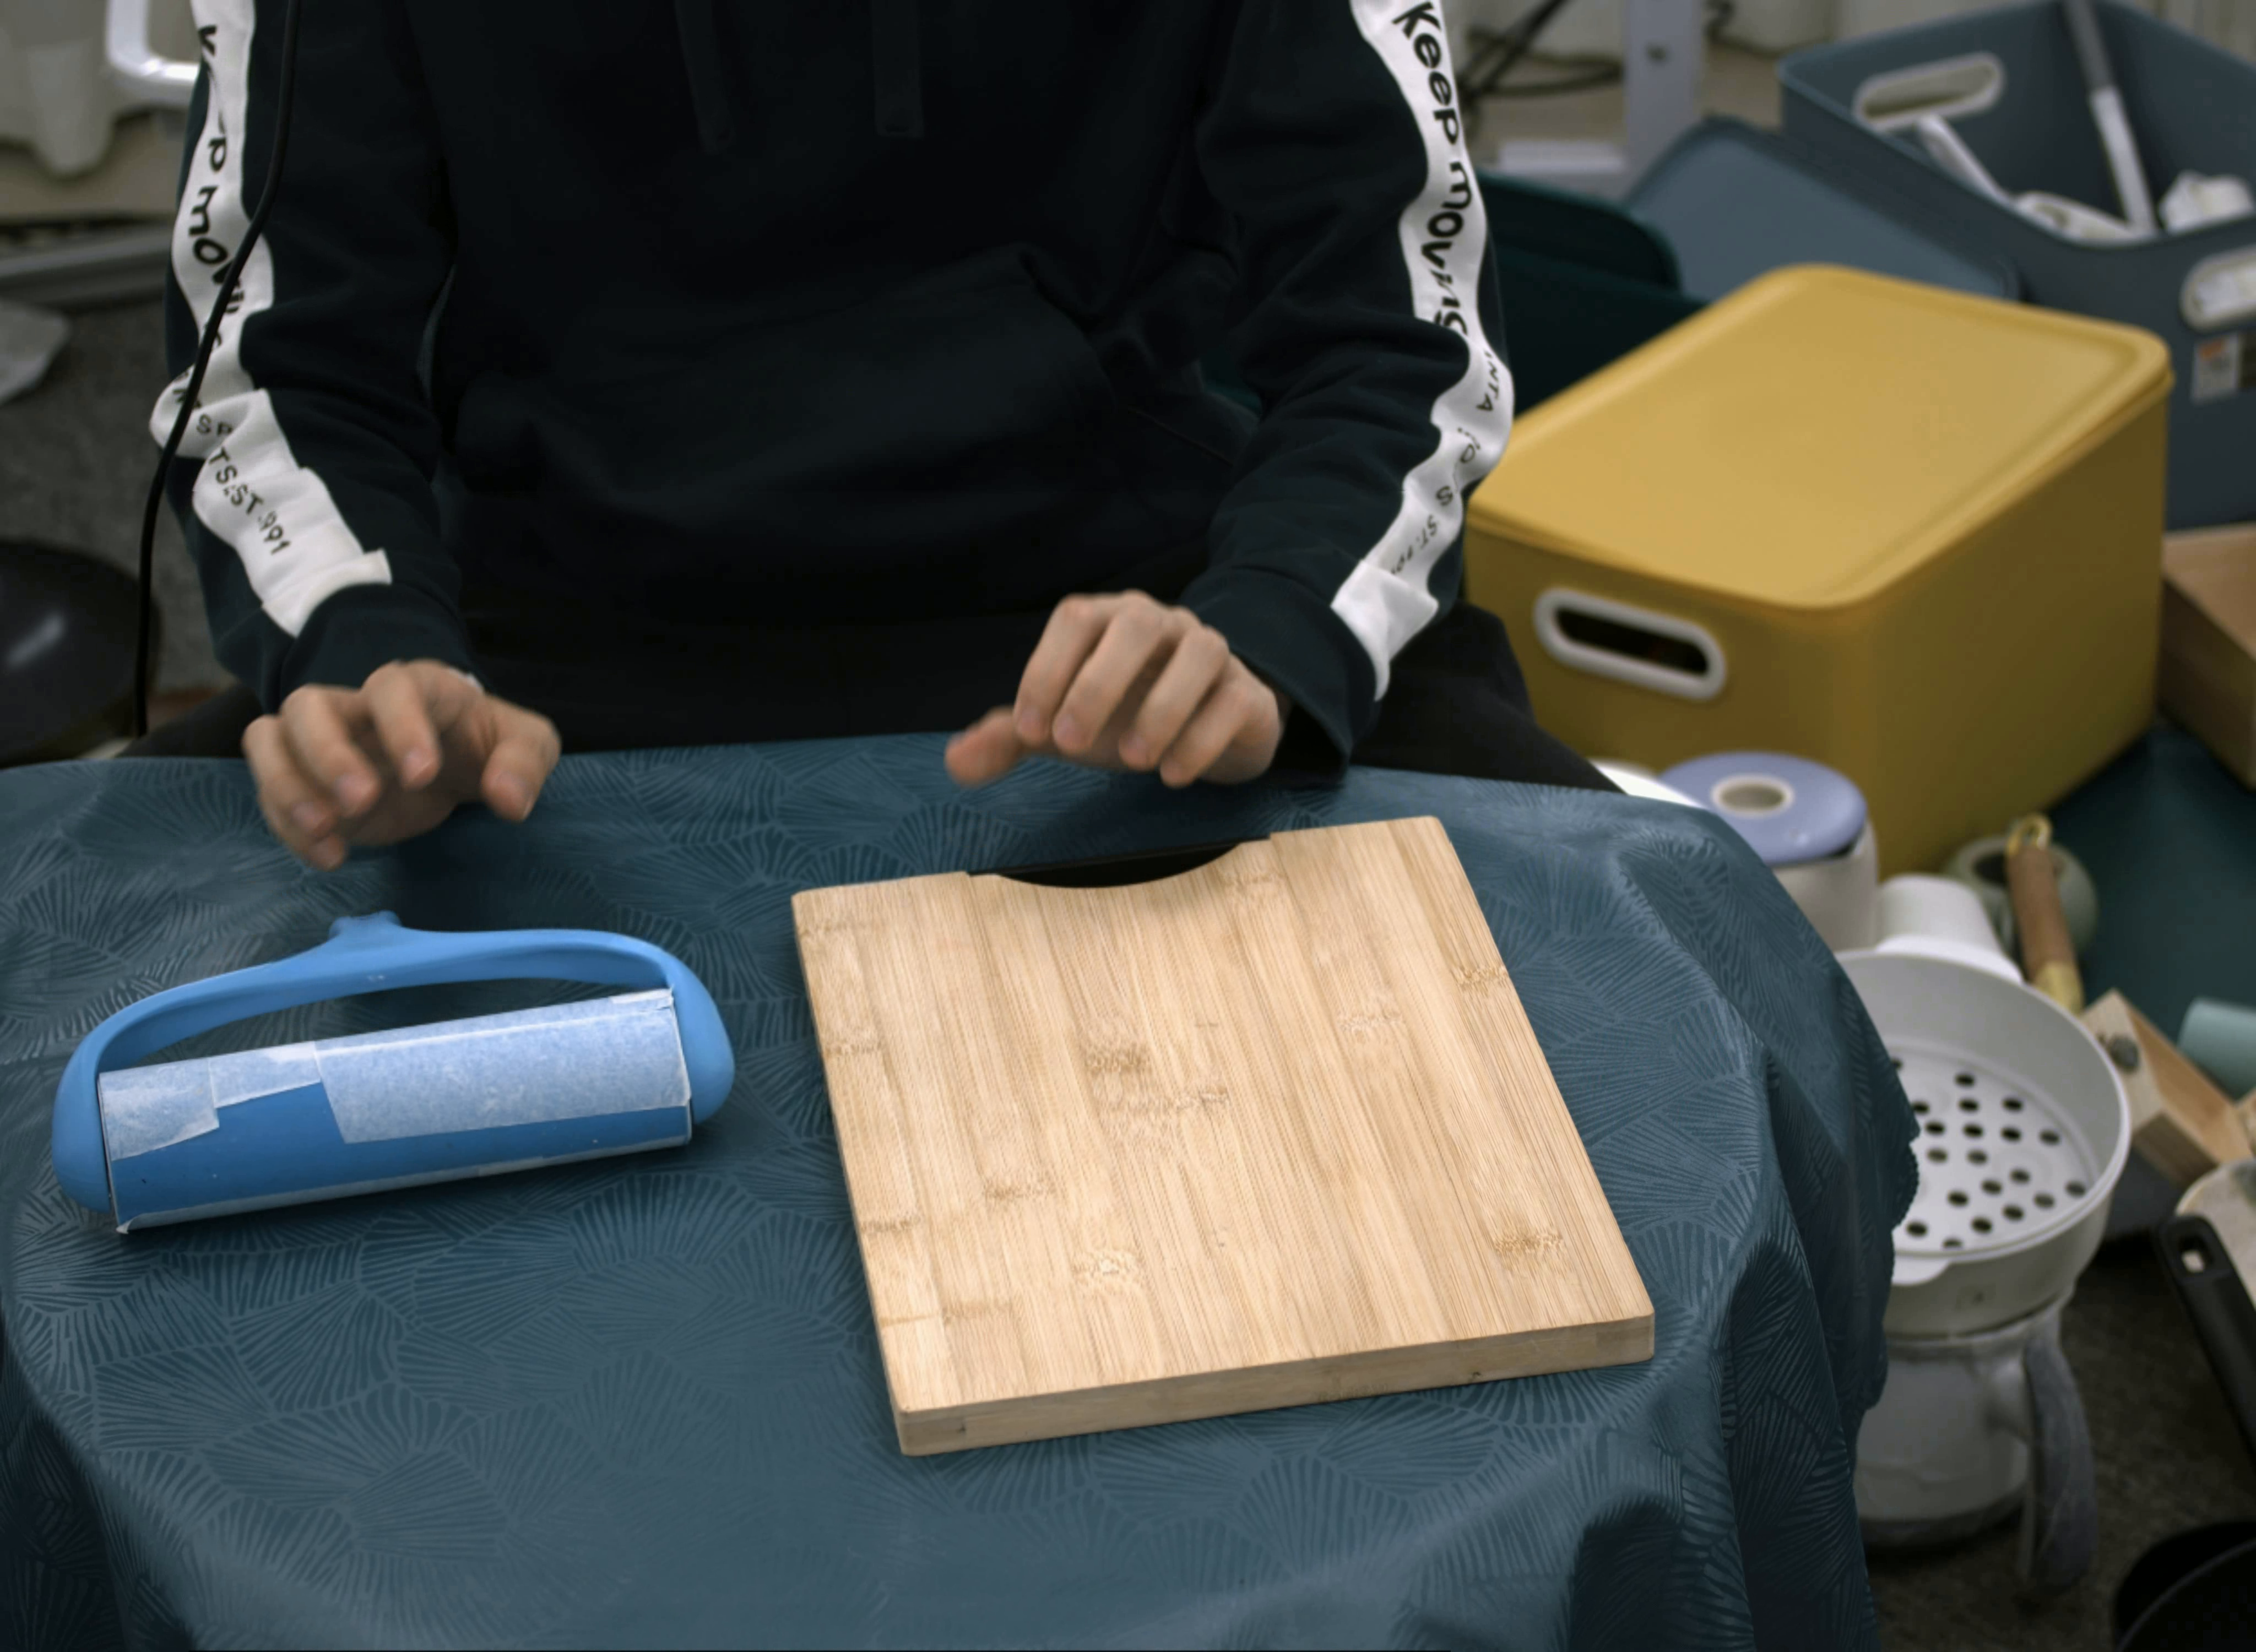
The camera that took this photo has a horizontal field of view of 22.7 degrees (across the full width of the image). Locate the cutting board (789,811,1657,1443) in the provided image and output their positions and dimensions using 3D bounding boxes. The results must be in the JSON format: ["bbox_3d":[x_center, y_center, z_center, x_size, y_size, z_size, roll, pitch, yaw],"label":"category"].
[{"bbox_3d":[0.022,0.095,1.892,0.250,0.023,0.353,-7,28,-8],"label":"cutting board"}]

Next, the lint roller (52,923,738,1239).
[{"bbox_3d":[-0.259,0.069,1.926,0.229,0.067,0.182,-11,29,-12],"label":"lint roller"}]
